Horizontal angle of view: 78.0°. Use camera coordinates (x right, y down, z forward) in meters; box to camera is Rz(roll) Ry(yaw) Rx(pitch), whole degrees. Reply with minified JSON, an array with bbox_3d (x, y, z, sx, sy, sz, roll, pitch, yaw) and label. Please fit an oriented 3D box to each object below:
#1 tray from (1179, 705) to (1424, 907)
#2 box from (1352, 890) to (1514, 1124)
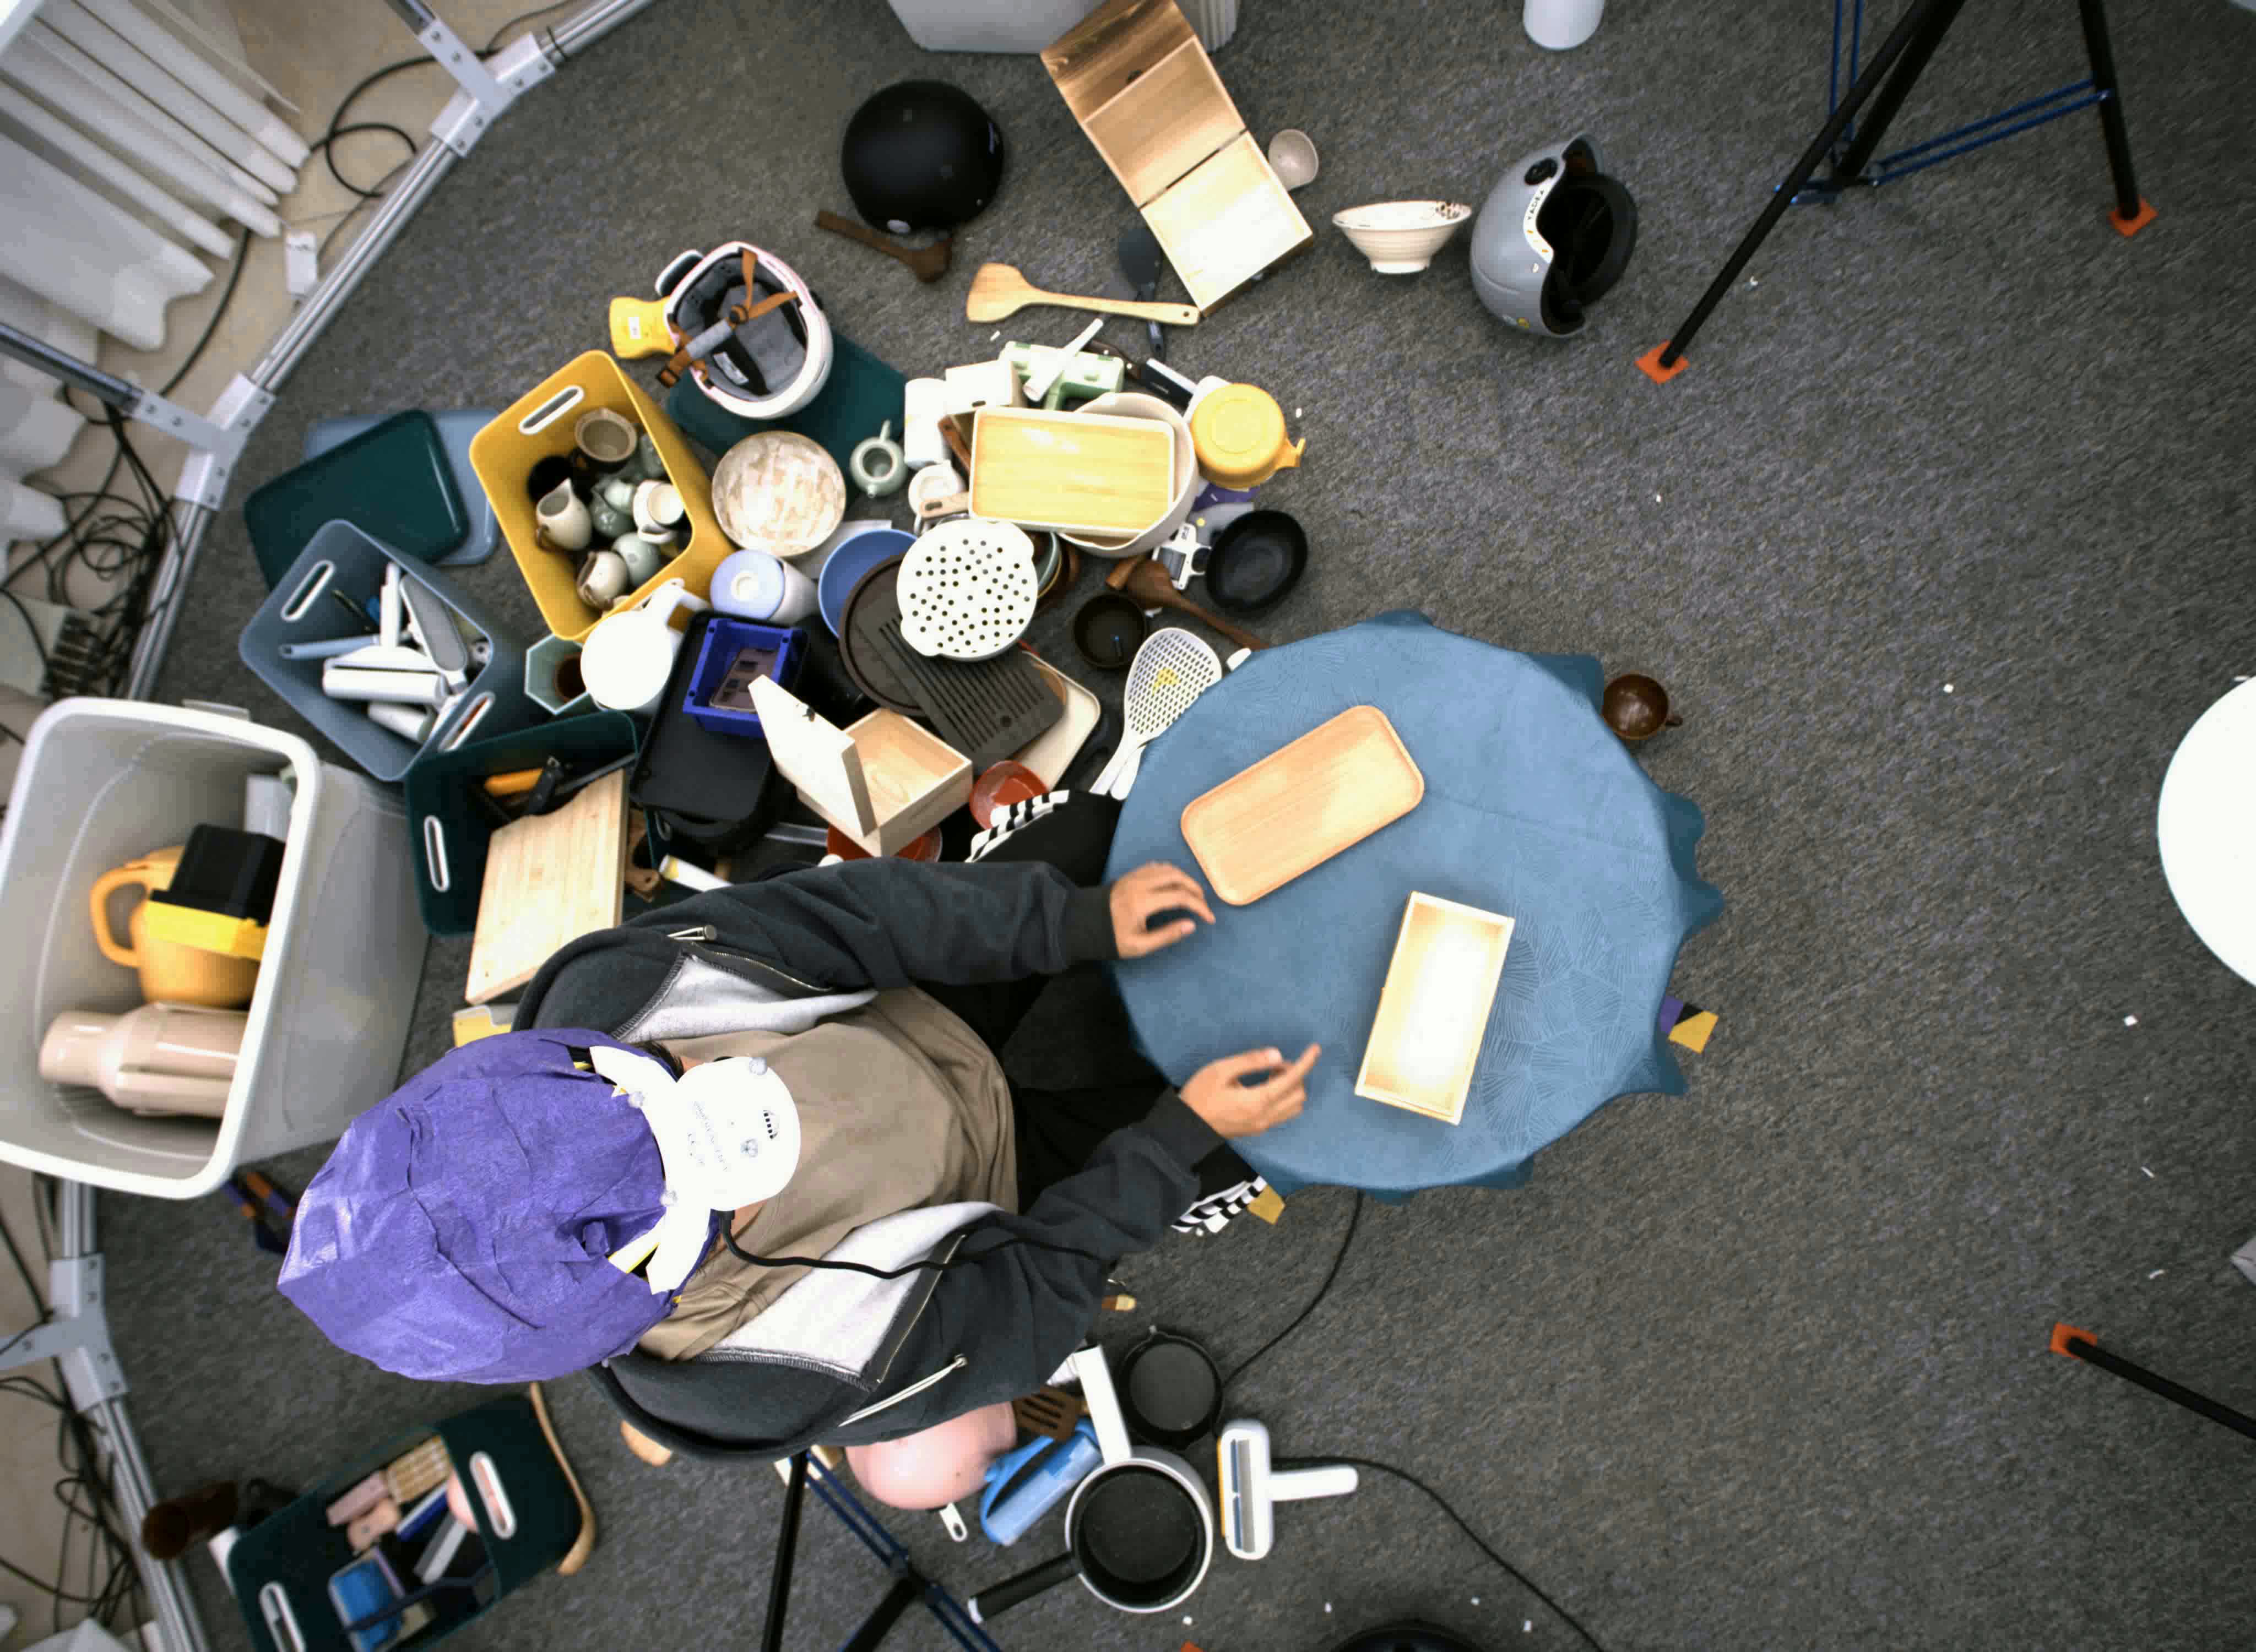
[{"bbox_3d":[0.184,-0.022,1.471,0.252,0.023,0.129,-30,79,8],"label":"tray"},{"bbox_3d":[0.309,0.181,1.406,0.107,0.080,0.211,16,89,11],"label":"box"}]
